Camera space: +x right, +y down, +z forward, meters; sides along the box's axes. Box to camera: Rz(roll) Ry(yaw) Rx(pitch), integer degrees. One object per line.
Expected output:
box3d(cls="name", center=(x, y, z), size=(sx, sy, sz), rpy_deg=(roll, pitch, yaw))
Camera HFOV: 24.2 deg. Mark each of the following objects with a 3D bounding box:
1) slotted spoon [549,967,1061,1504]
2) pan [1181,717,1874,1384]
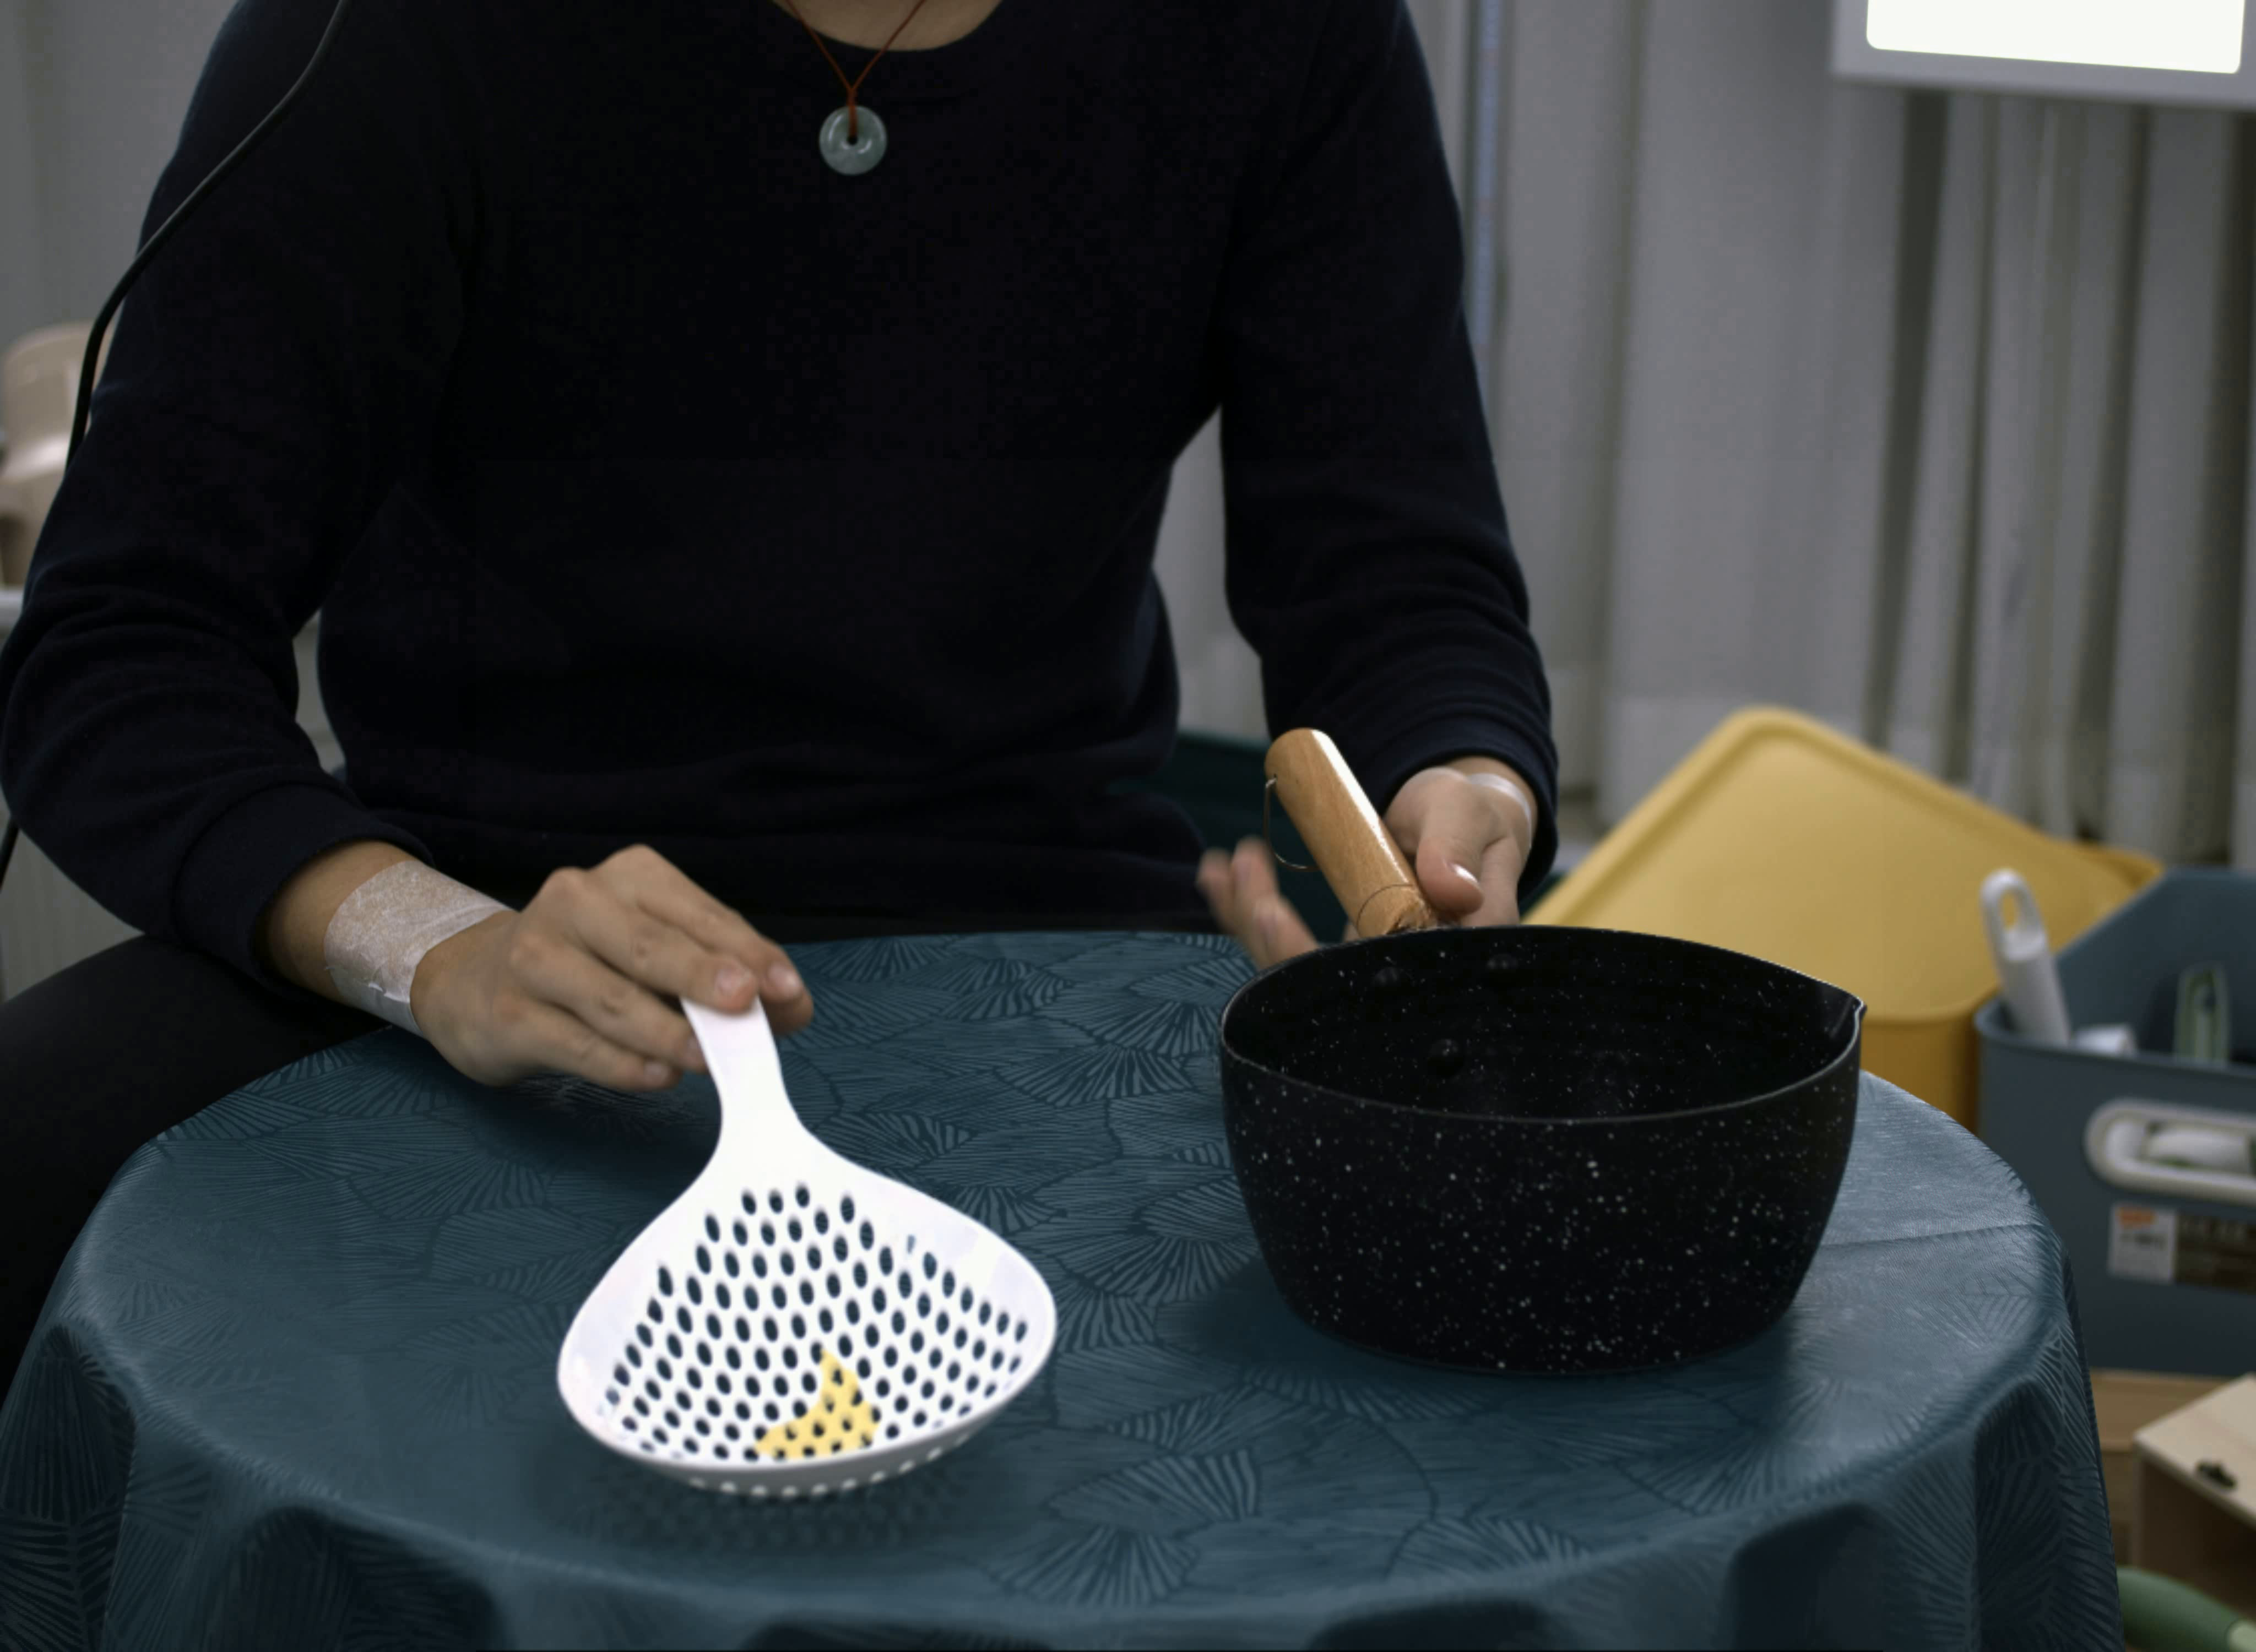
box3d(cls="slotted spoon", center=(-0.105, 0.102, 1.500), size=(0.136, 0.051, 0.344), rpy_deg=(-11, 29, -7))
box3d(cls="pan", center=(0.098, 0.063, 1.600), size=(0.208, 0.109, 0.339), rpy_deg=(-5, 18, -15))
